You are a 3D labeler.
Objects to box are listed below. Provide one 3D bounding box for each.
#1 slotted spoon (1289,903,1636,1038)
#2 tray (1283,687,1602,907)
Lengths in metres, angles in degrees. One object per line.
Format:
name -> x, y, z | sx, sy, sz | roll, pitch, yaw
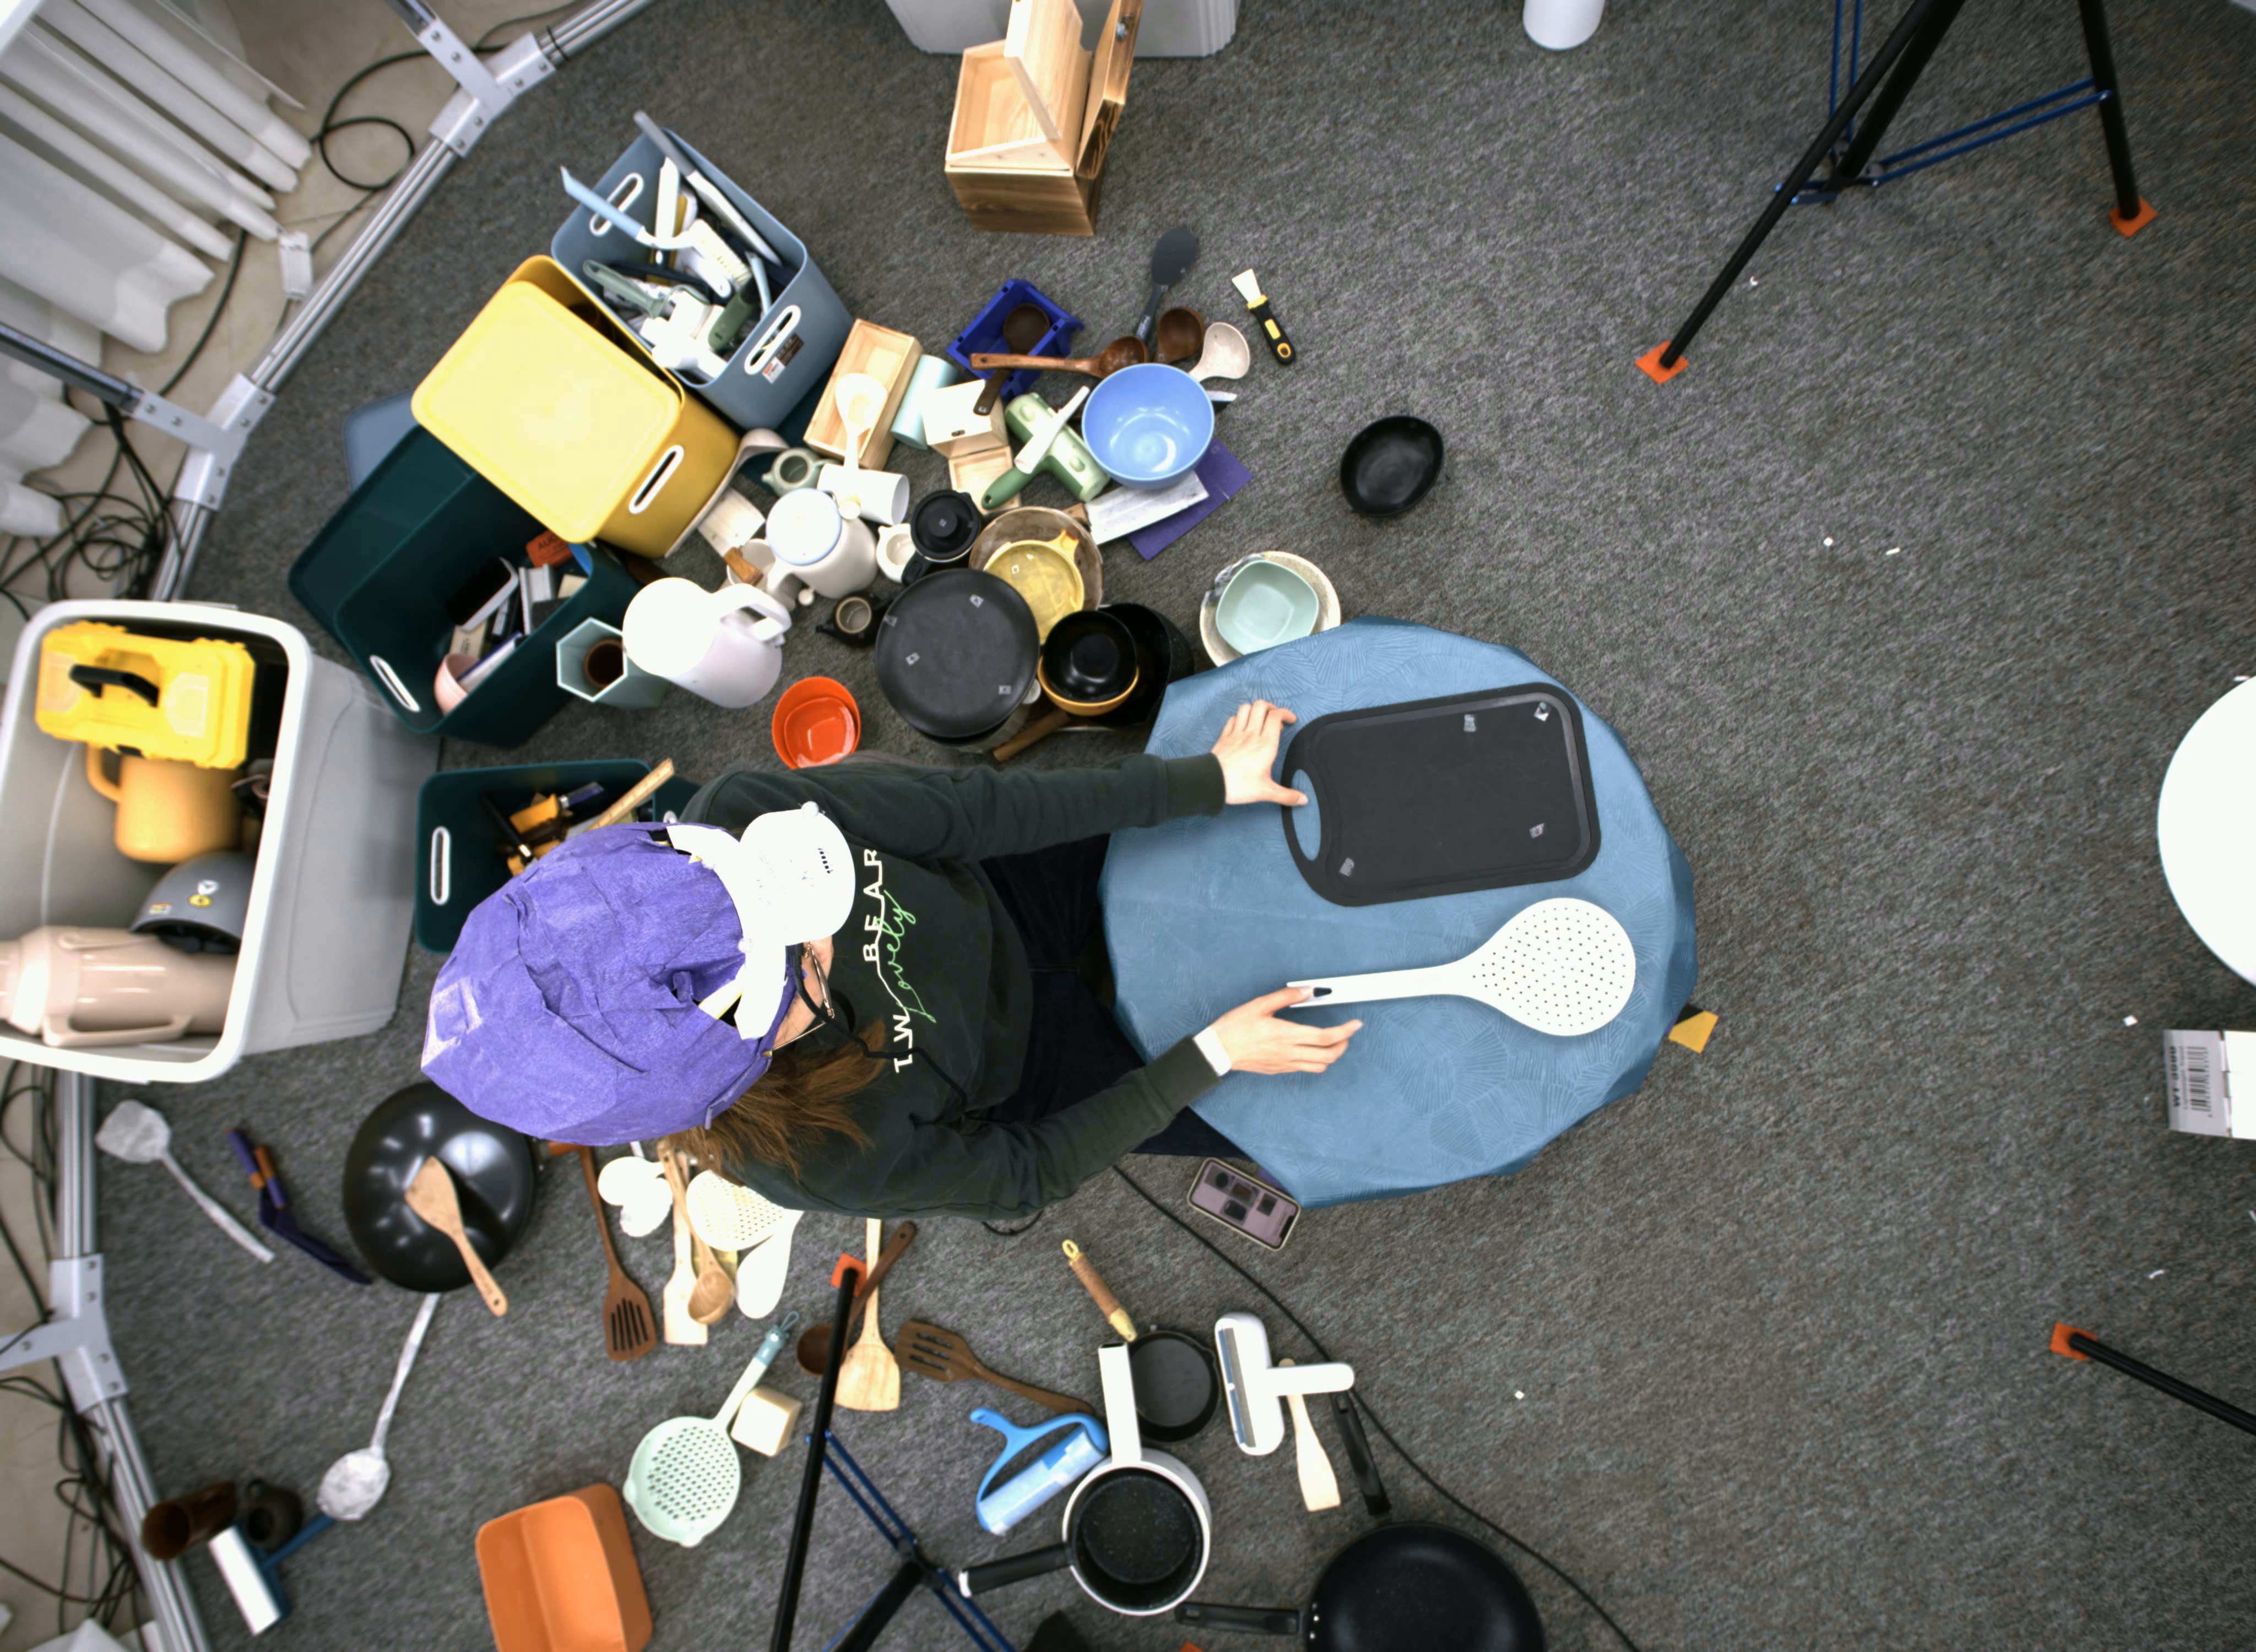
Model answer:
slotted spoon -> 0.340, 0.158, 1.423 | 0.351, 0.046, 0.135 | -7, 82, 11
tray -> 0.328, -0.031, 1.458 | 0.327, 0.010, 0.210 | -8, 84, 10
